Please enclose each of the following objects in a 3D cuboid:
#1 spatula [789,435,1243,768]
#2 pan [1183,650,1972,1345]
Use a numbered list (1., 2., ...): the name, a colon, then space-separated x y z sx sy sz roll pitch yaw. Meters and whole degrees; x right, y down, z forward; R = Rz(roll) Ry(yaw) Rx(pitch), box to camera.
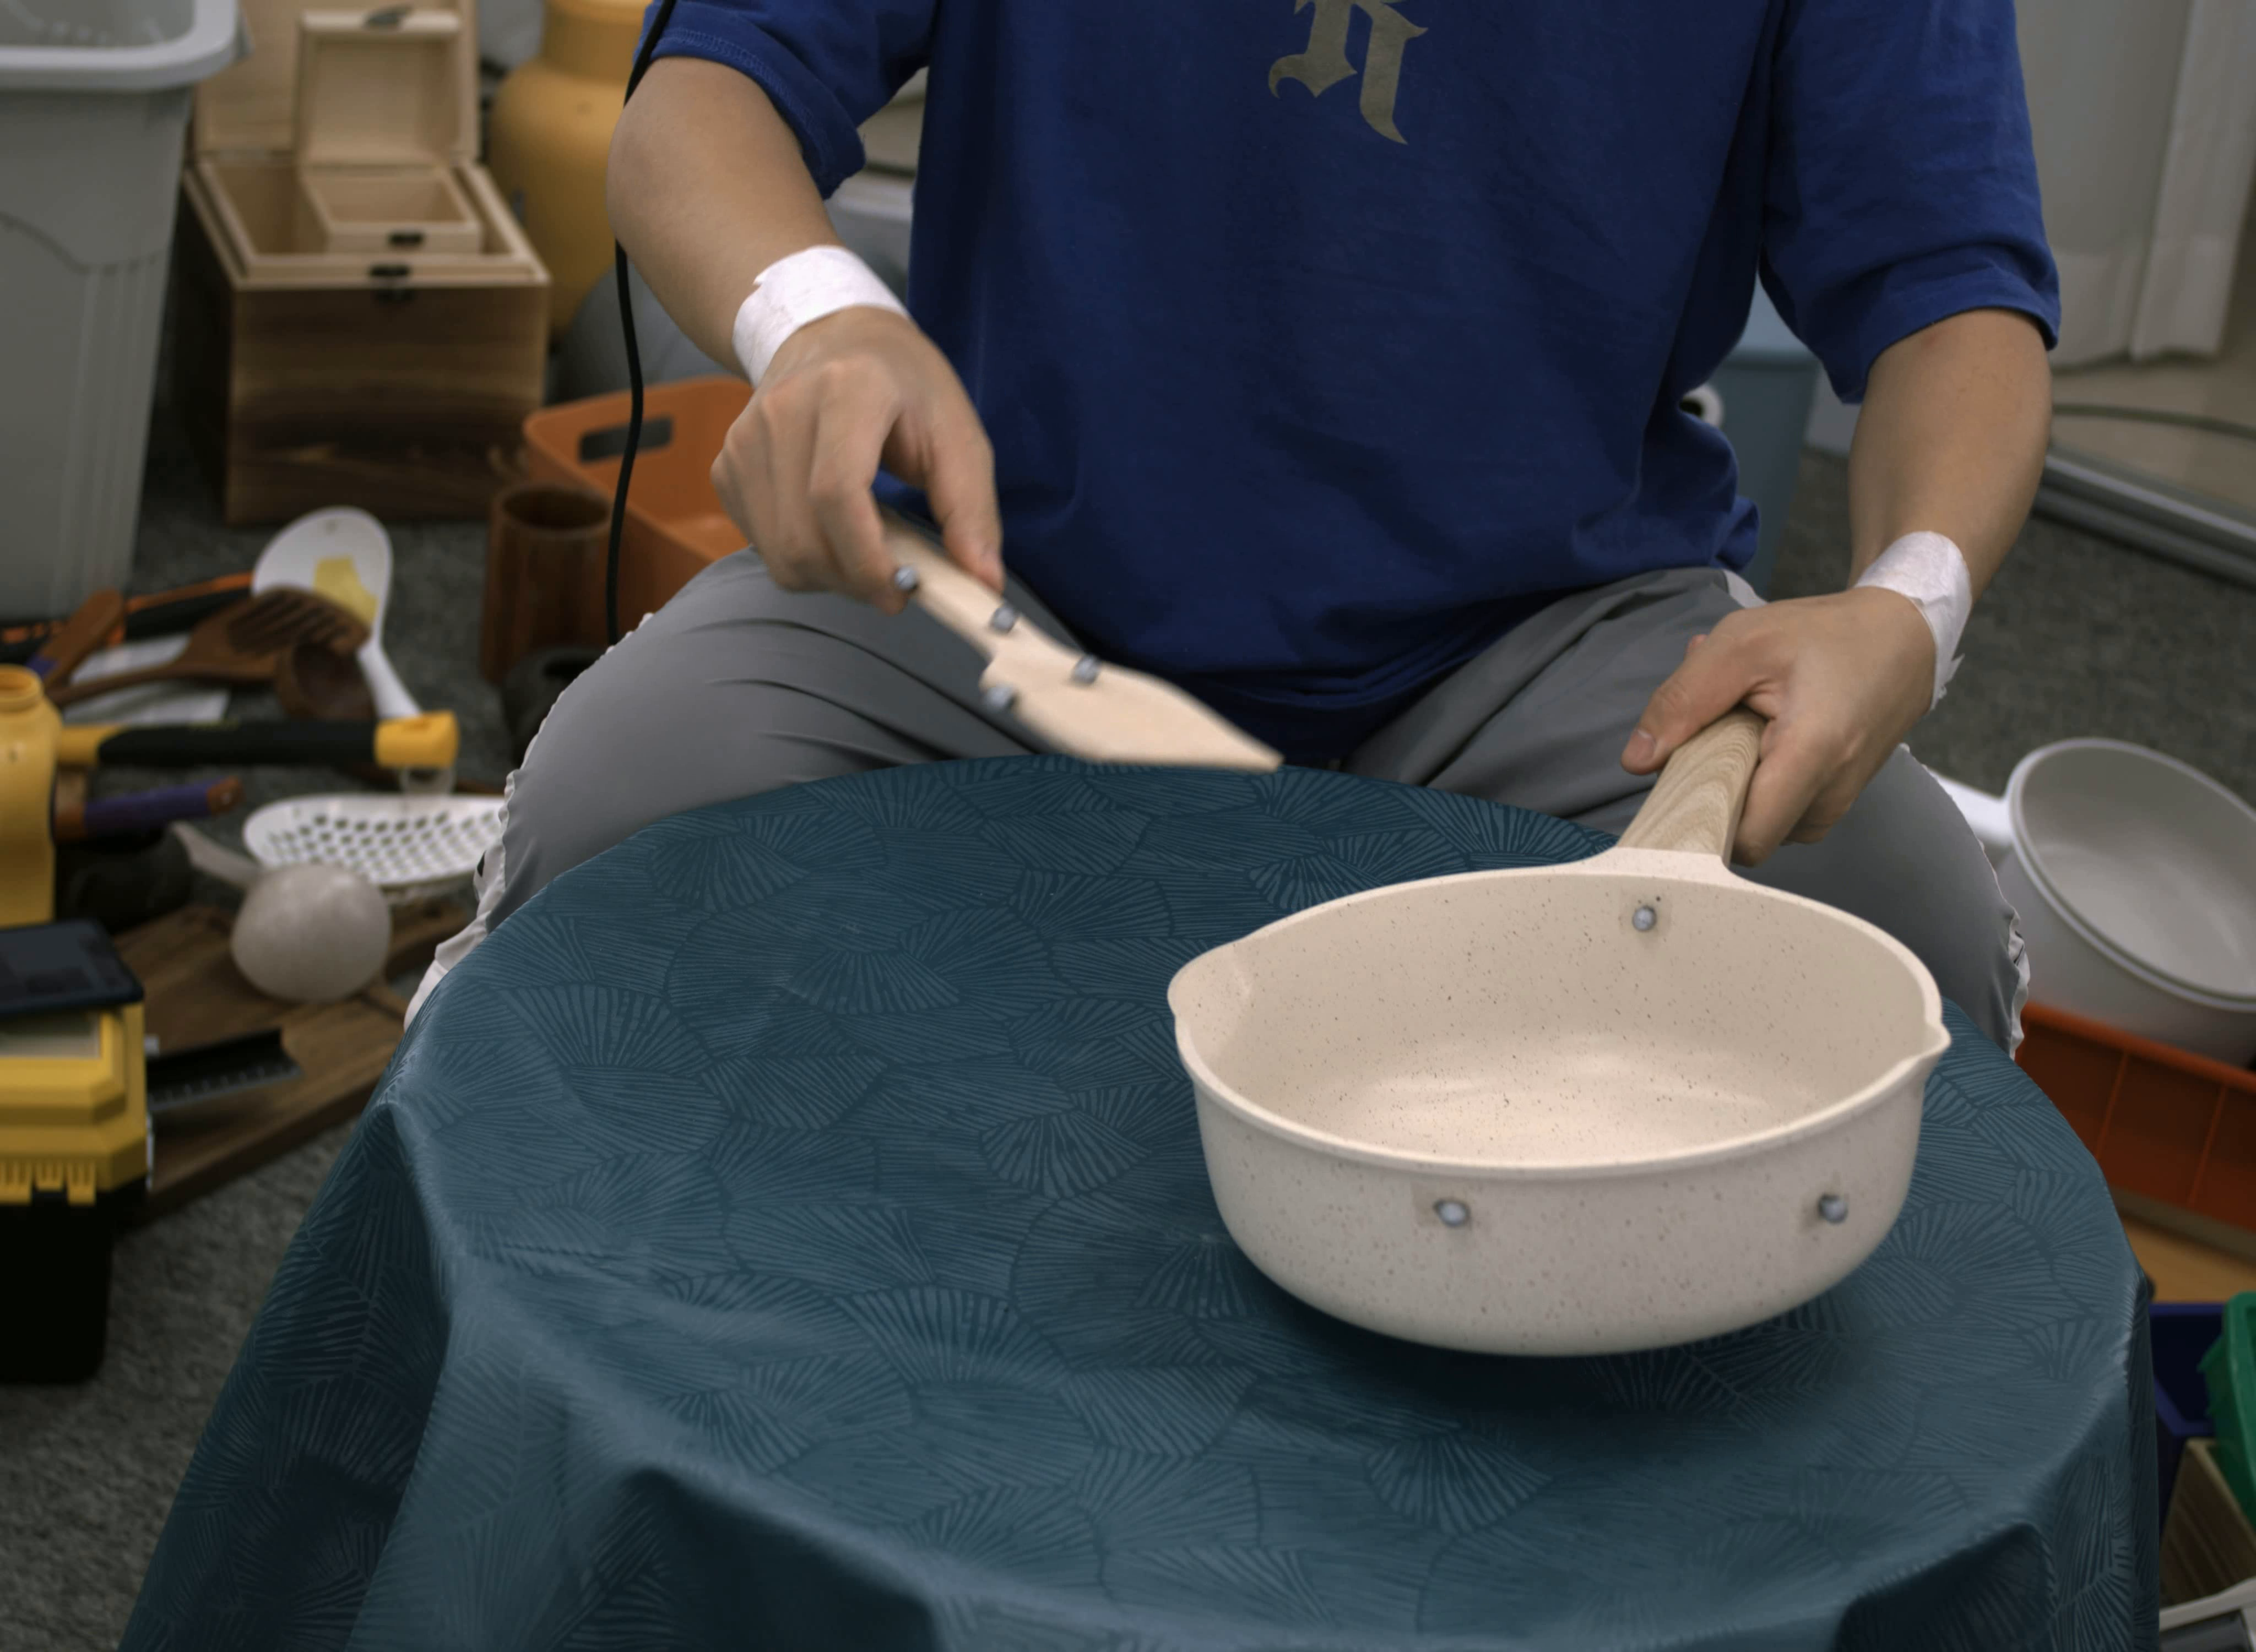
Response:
1. spatula: -0.053 -0.079 1.807 0.071 0.010 0.295 5 22 -29
2. pan: 0.177 0.056 1.834 0.264 0.102 0.435 2 21 19
